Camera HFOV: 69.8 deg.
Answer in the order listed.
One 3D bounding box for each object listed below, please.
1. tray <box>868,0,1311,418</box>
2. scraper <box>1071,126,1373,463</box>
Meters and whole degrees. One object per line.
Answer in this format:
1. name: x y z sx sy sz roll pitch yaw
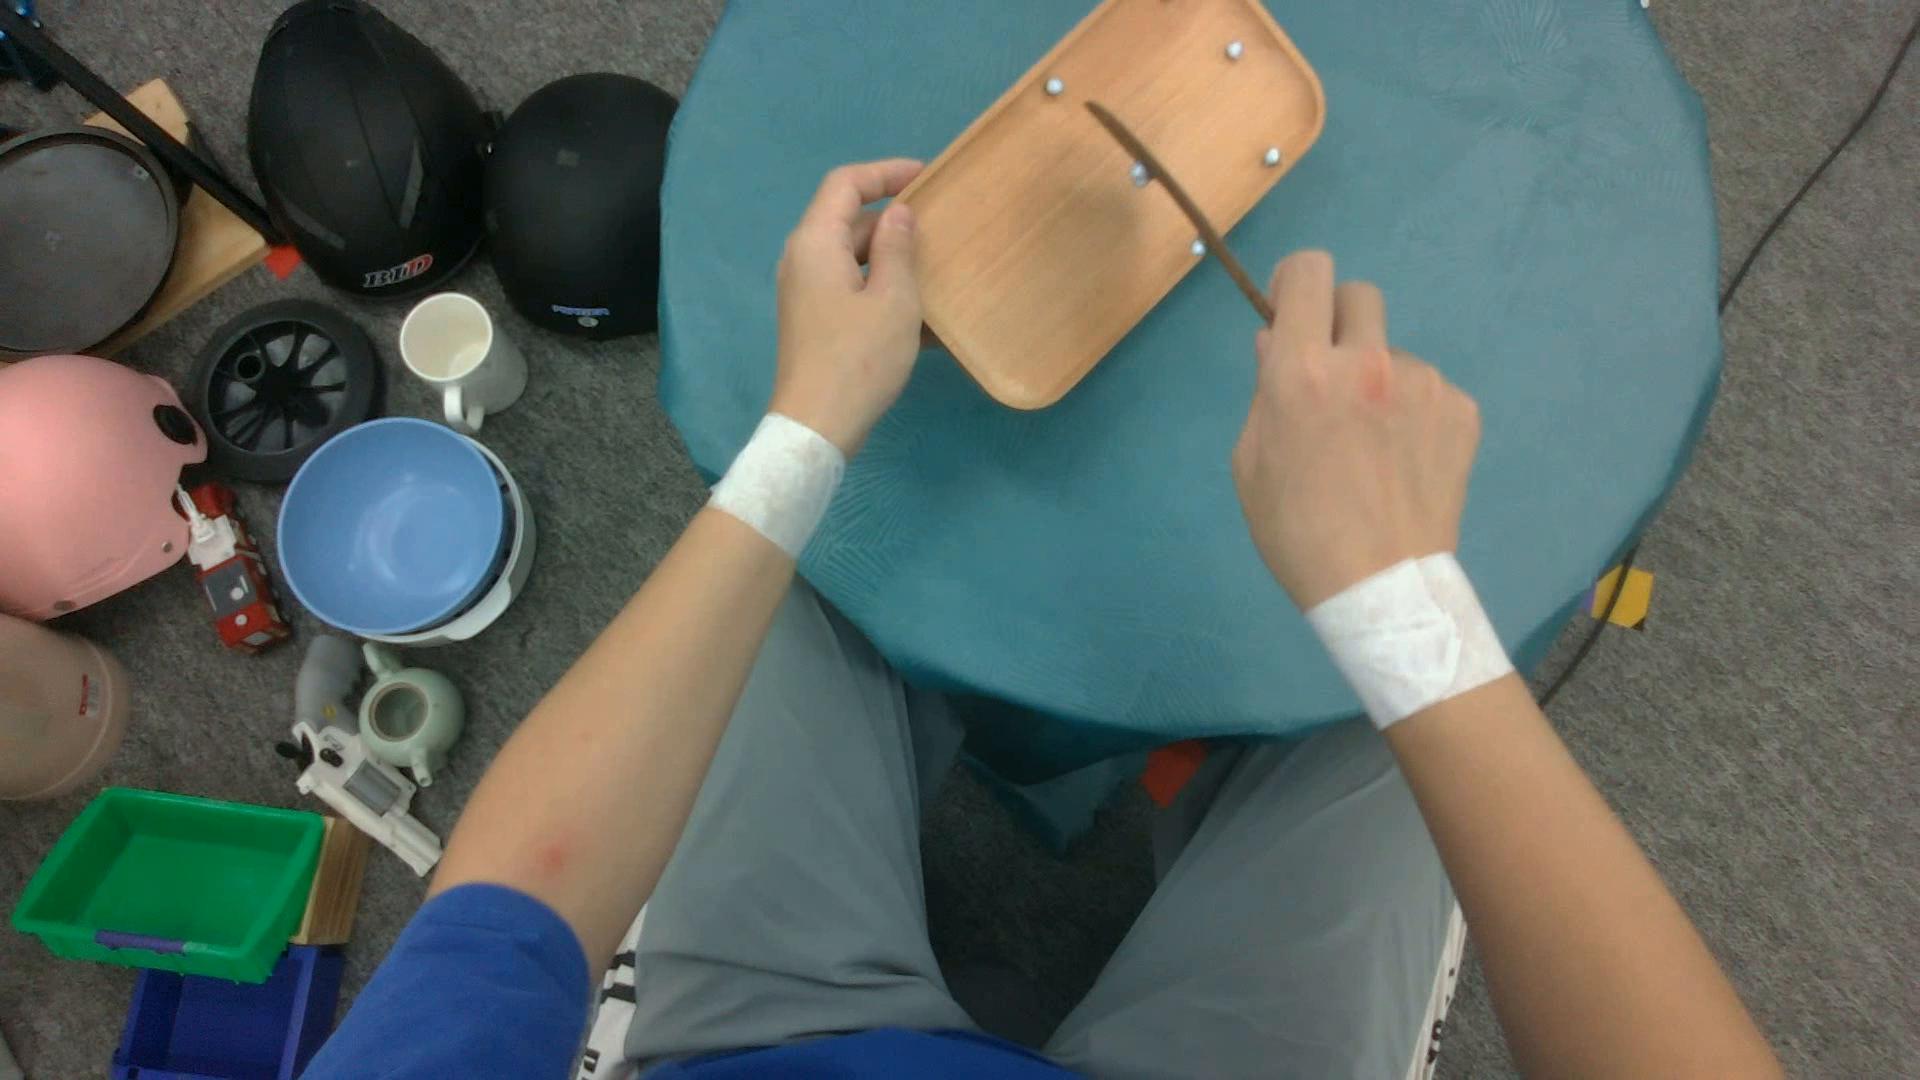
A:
1. tray: 0.071 -0.182 0.710 0.251 0.023 0.130 -45 97 -13
2. scraper: 0.119 -0.113 0.621 0.011 0.076 0.212 -42 60 17
